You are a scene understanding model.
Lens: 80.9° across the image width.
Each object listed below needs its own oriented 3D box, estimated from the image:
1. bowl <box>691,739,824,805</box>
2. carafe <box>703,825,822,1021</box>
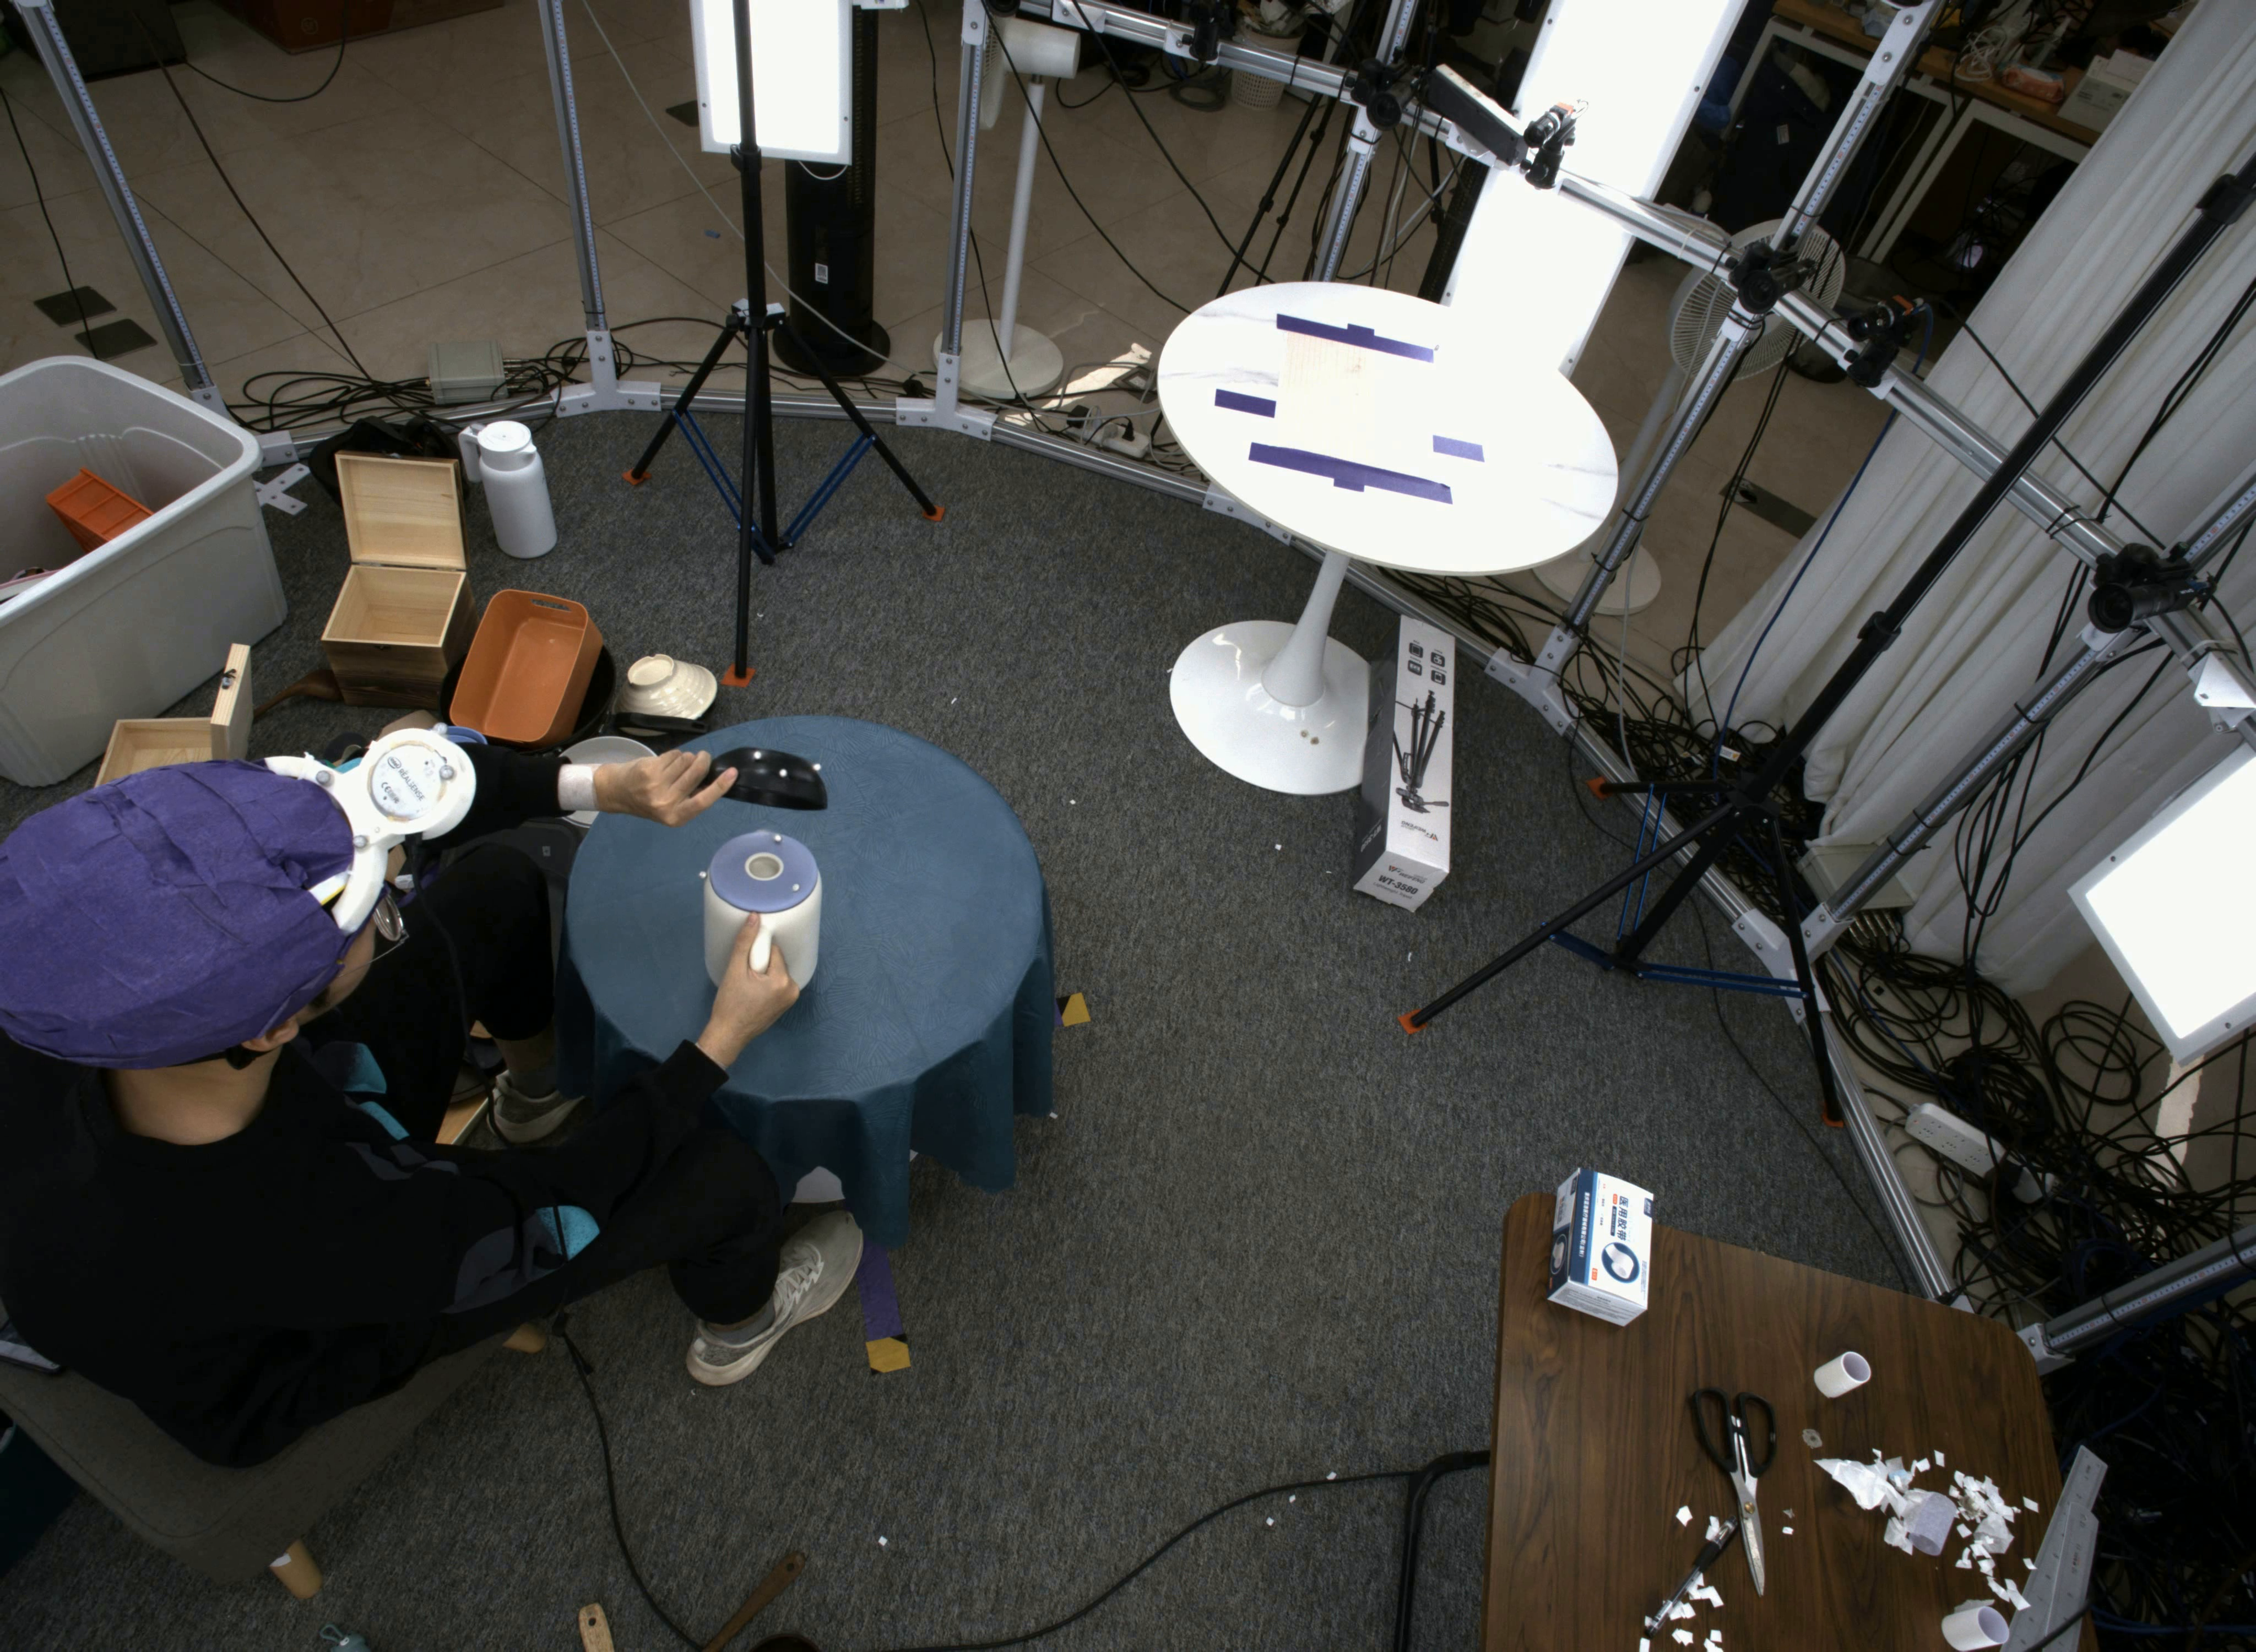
[{"bbox_3d":[-0.389,-0.061,1.370,0.139,0.140,0.050,9,83,-6],"label":"bowl"},{"bbox_3d":[-0.418,0.122,1.484,0.132,0.186,0.186,0,50,-15],"label":"carafe"}]
